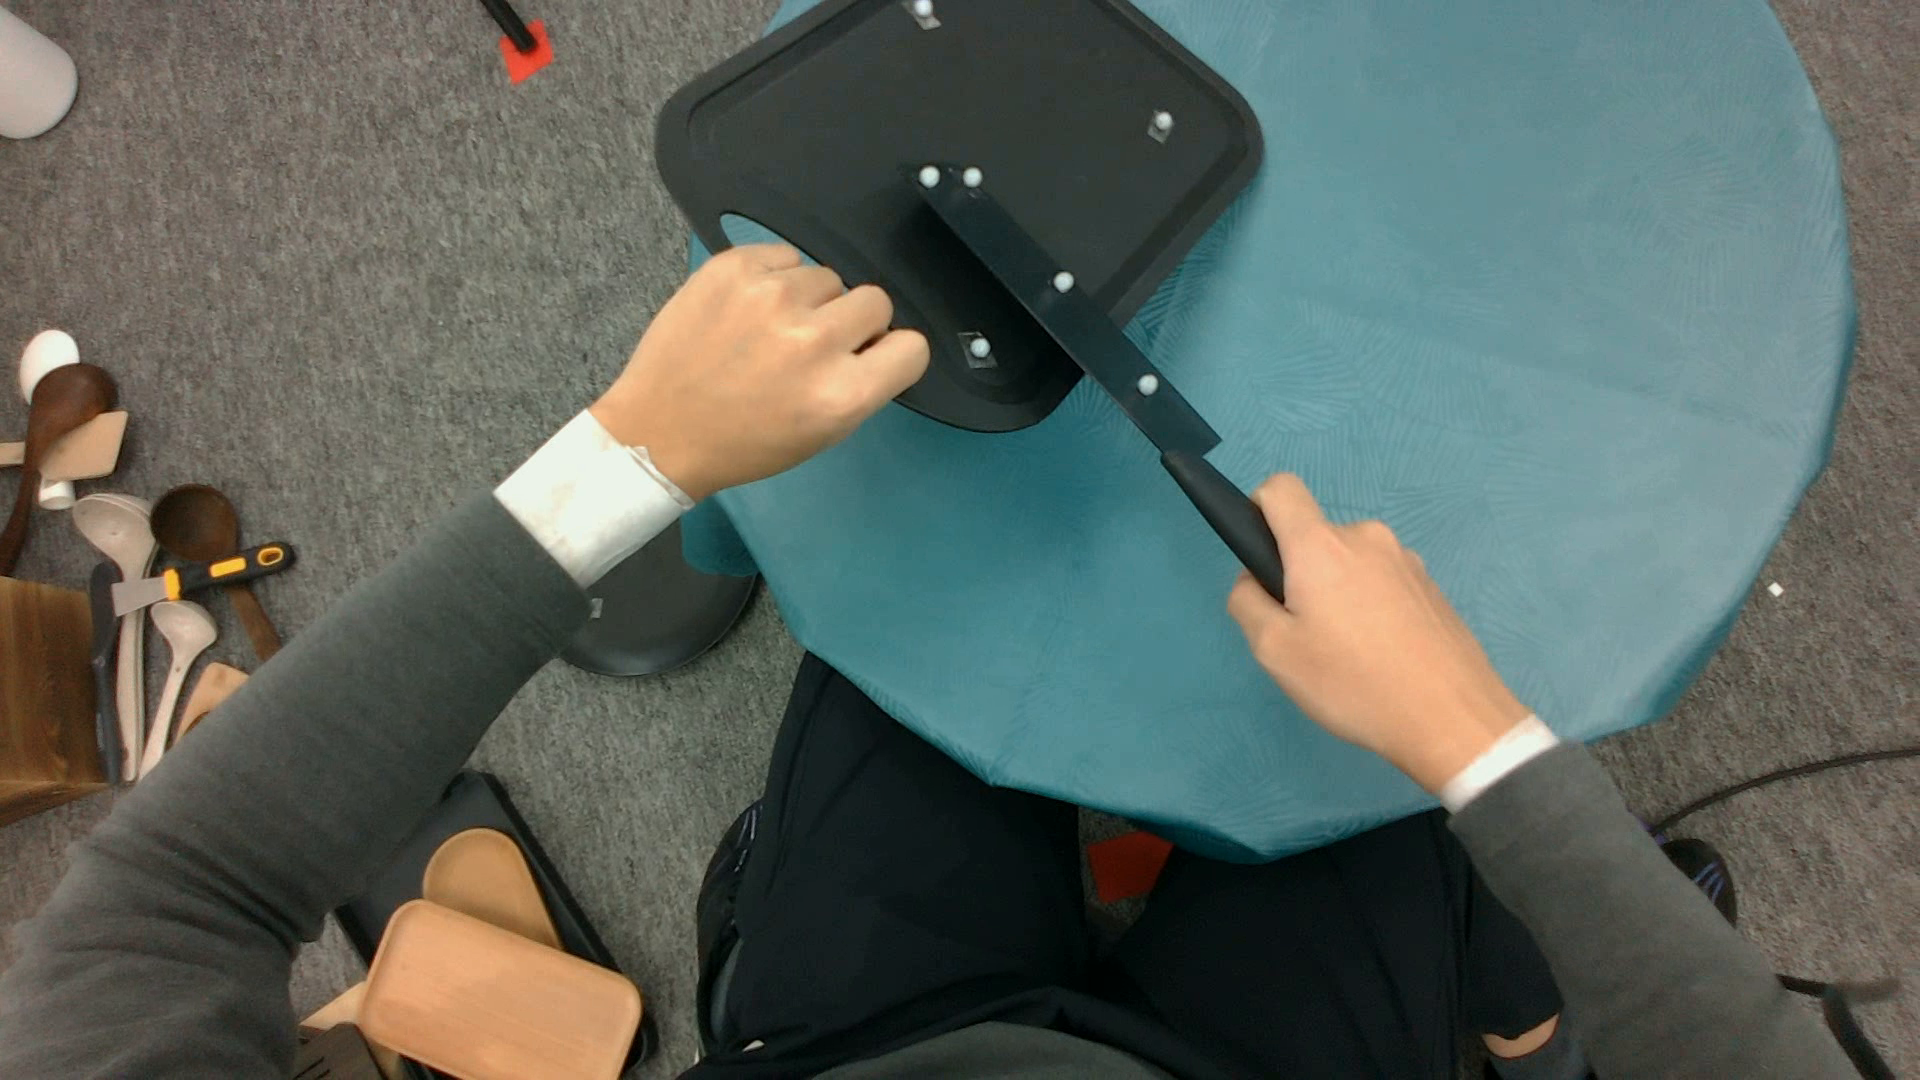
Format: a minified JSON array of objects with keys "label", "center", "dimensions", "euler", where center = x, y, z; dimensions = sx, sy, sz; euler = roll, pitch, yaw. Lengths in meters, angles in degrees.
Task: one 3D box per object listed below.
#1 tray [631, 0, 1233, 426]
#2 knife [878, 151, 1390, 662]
[{"label":"tray","center":[0.001,-0.188,0.650],"dimensions":[0.211,0.010,0.327],"euler":[39,54,-1]},{"label":"knife","center":[0.077,-0.064,0.601],"dimensions":[0.302,0.081,0.021],"euler":[49,122,9]}]
